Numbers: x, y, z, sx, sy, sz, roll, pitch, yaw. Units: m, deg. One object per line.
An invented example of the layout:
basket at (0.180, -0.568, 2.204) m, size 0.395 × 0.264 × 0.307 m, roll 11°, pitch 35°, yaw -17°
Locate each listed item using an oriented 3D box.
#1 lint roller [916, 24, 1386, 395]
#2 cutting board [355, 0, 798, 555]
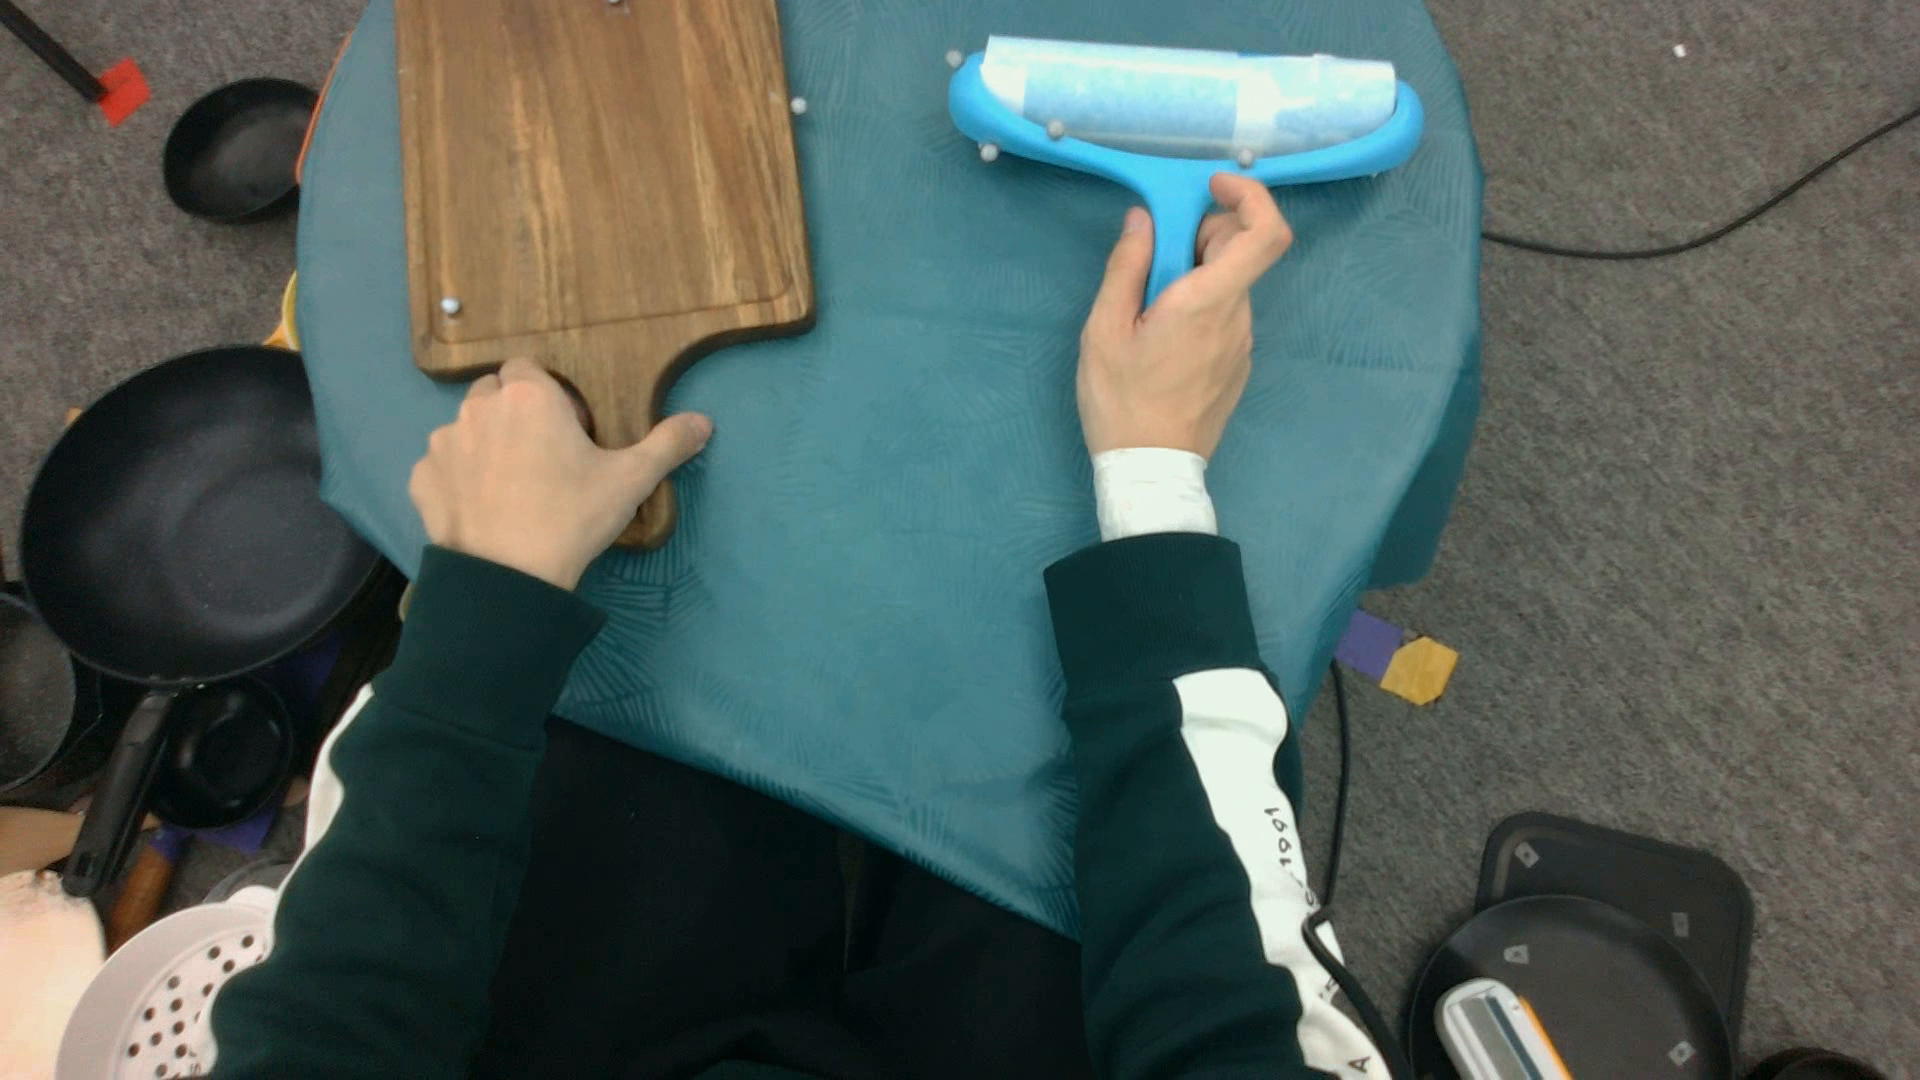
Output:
lint roller at (0.091, -0.164, 0.660) m, size 0.229 × 0.068 × 0.180 m, roll 1°, pitch 76°, yaw 1°
cutting board at (-0.190, -0.162, 0.688) m, size 0.201 × 0.023 × 0.353 m, roll -11°, pitch 77°, yaw 0°
